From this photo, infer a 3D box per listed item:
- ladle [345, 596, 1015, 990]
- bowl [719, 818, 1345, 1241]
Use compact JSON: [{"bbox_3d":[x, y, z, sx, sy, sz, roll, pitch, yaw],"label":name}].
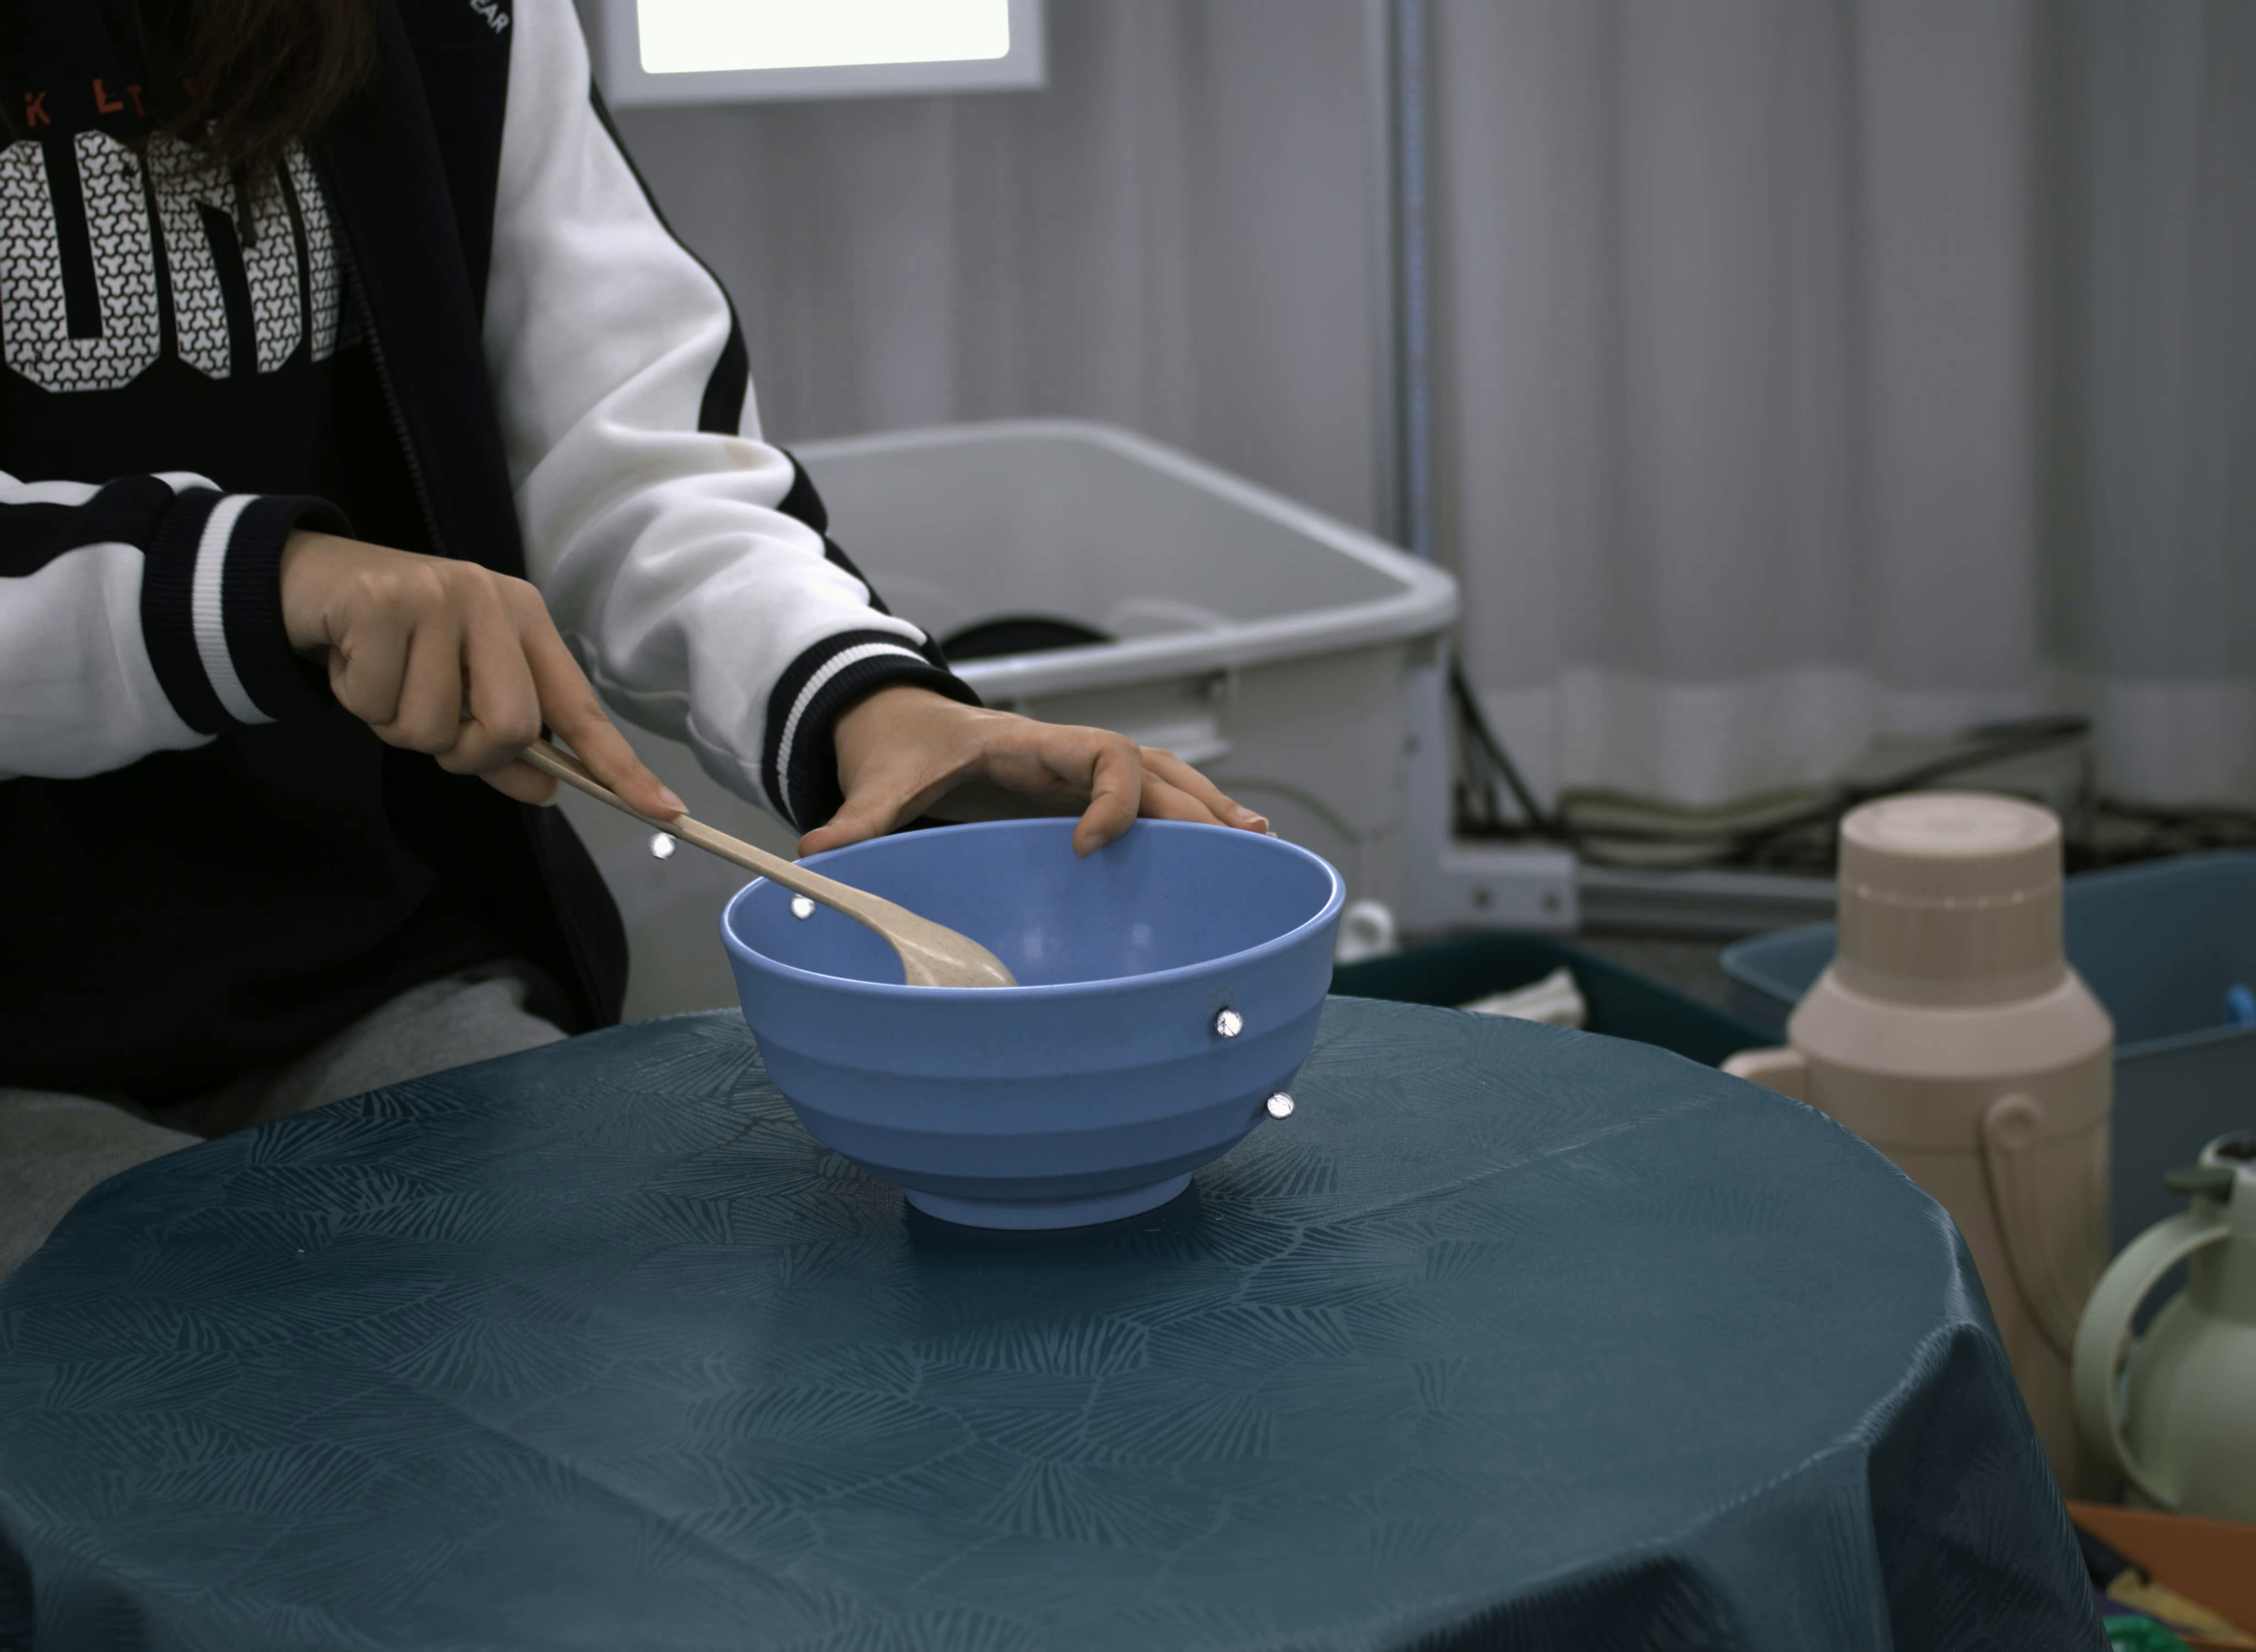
[{"bbox_3d":[-0.149,0.021,1.714,0.254,0.072,0.072,30,22,4],"label":"ladle"},{"bbox_3d":[-0.027,0.070,1.715,0.196,0.095,0.198,-4,15,1],"label":"bowl"}]
